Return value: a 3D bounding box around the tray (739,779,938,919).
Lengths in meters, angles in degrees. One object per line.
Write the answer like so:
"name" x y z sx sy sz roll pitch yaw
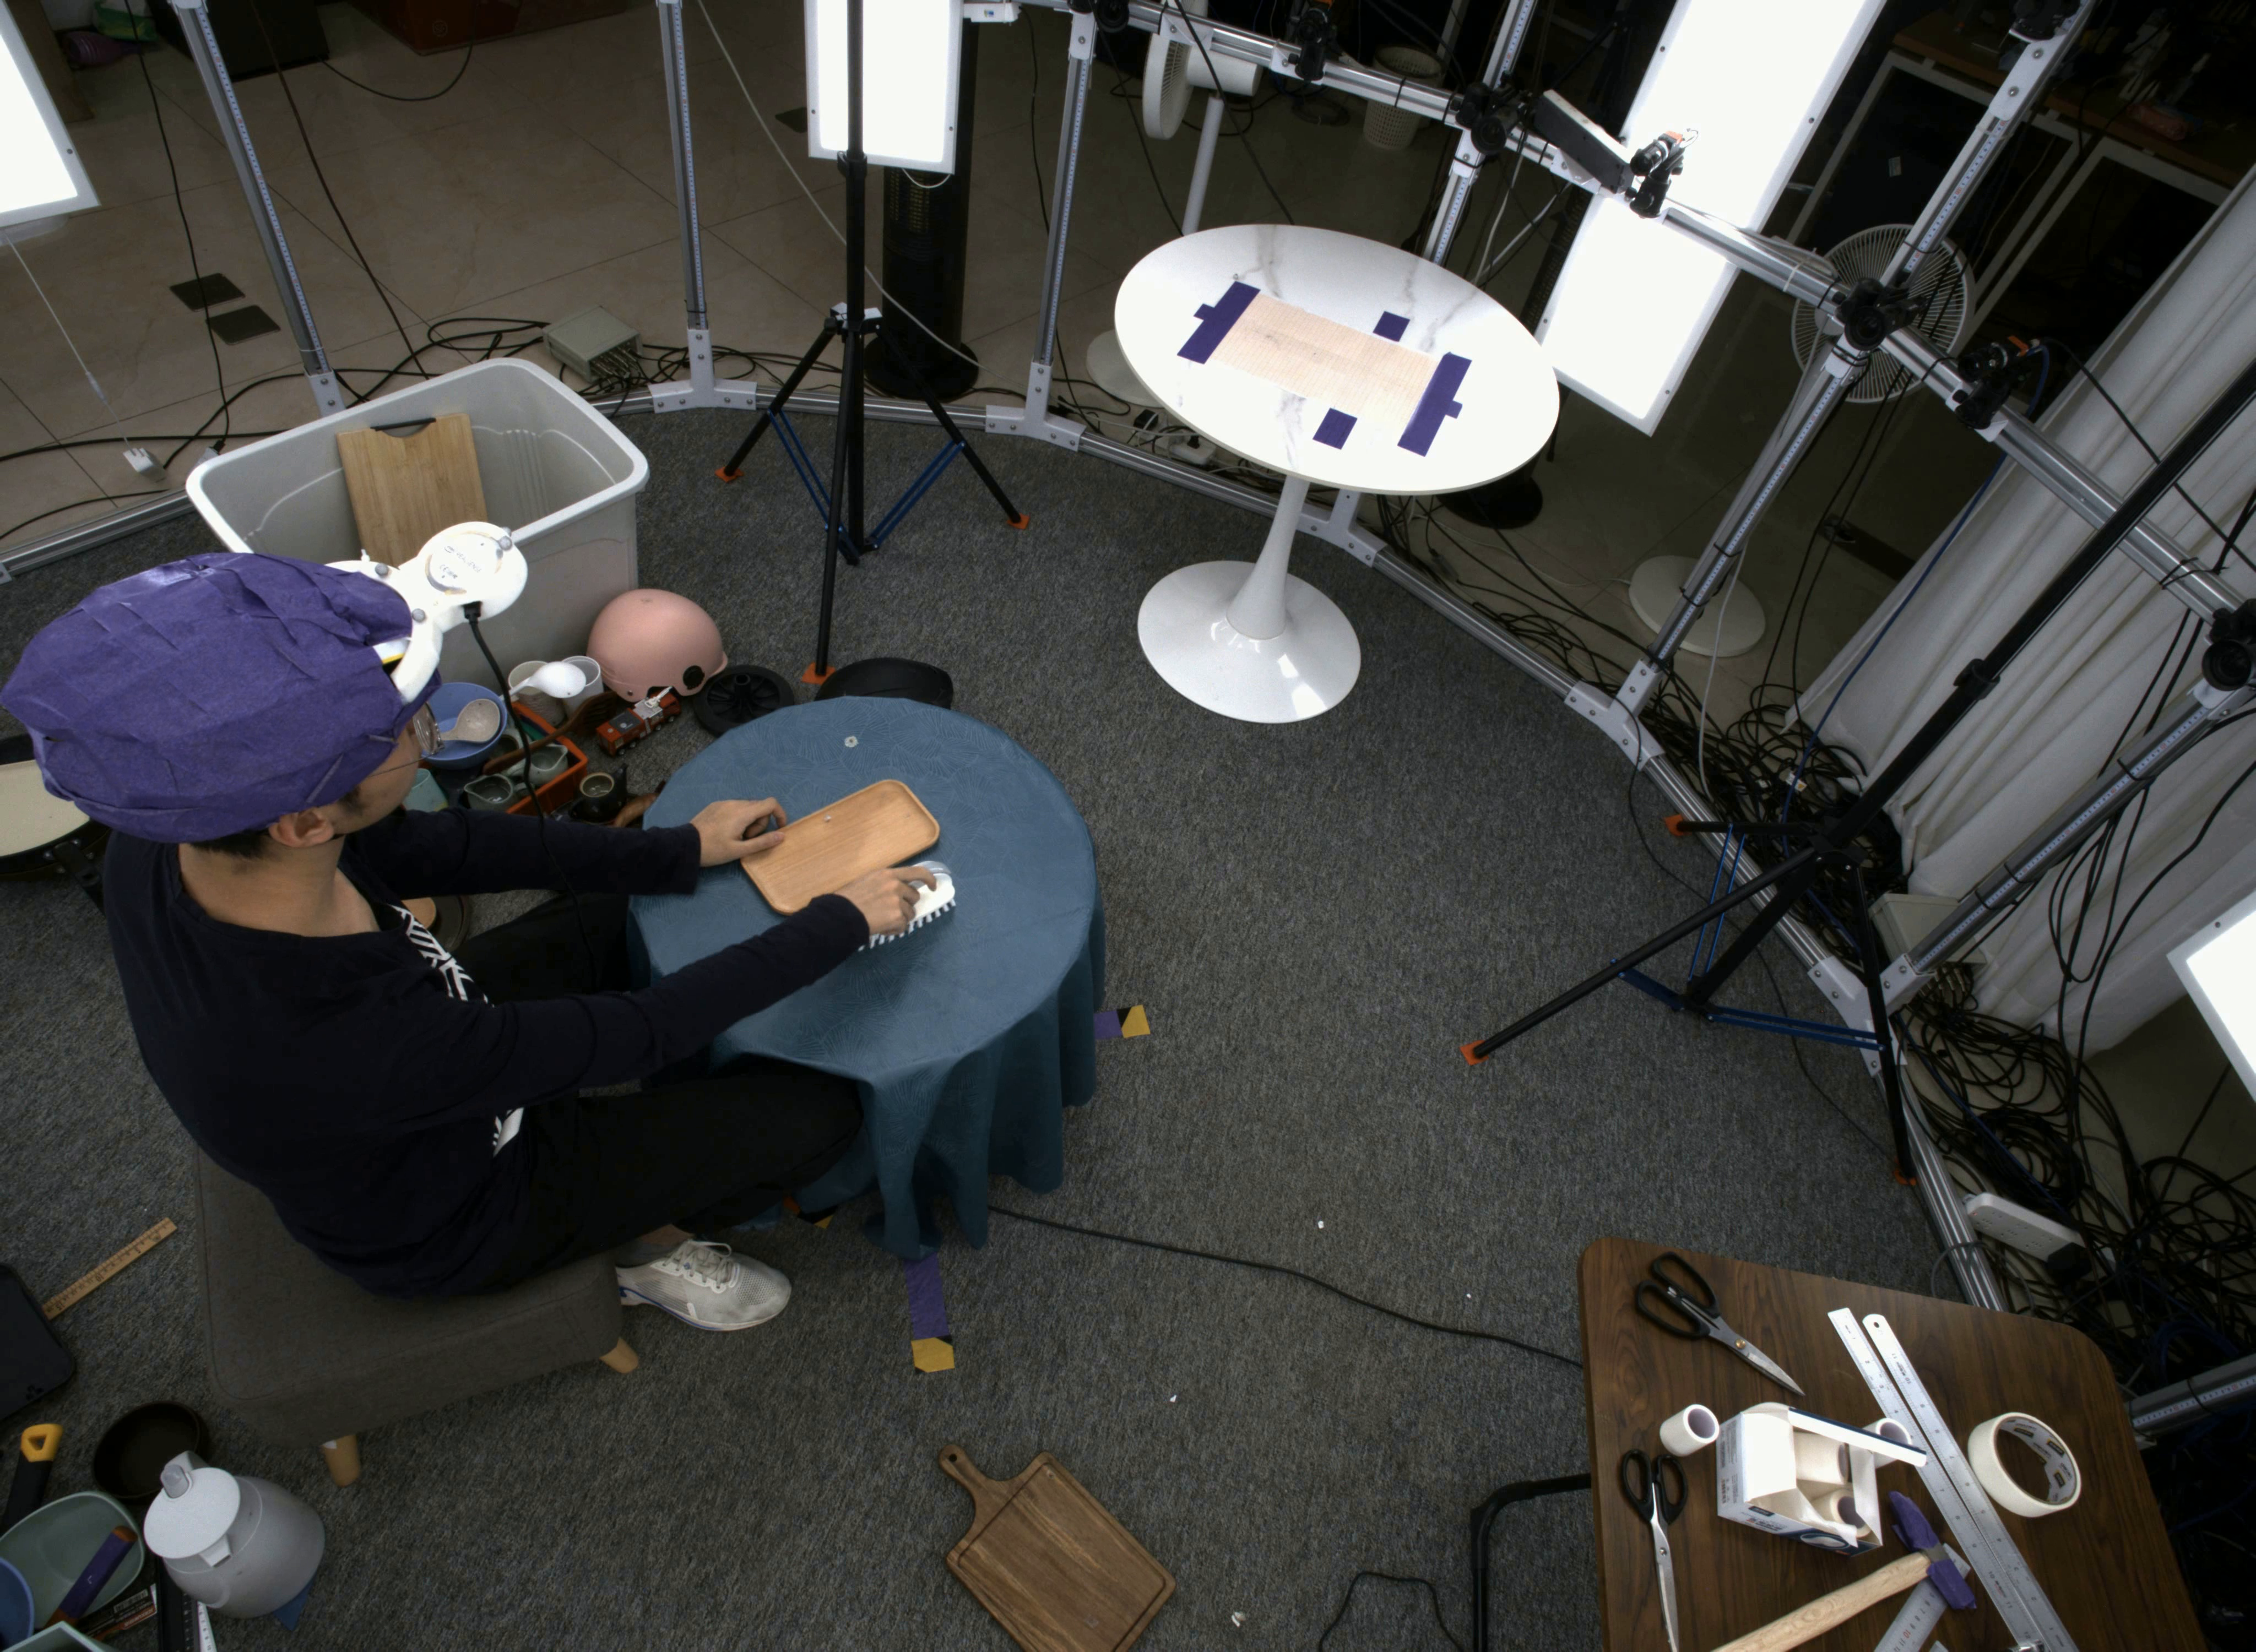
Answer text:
"tray" -0.378 0.027 1.707 0.251 0.023 0.127 -29 63 -29

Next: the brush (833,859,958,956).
"brush" -0.295 0.096 1.627 0.176 0.096 0.060 -29 63 -27
